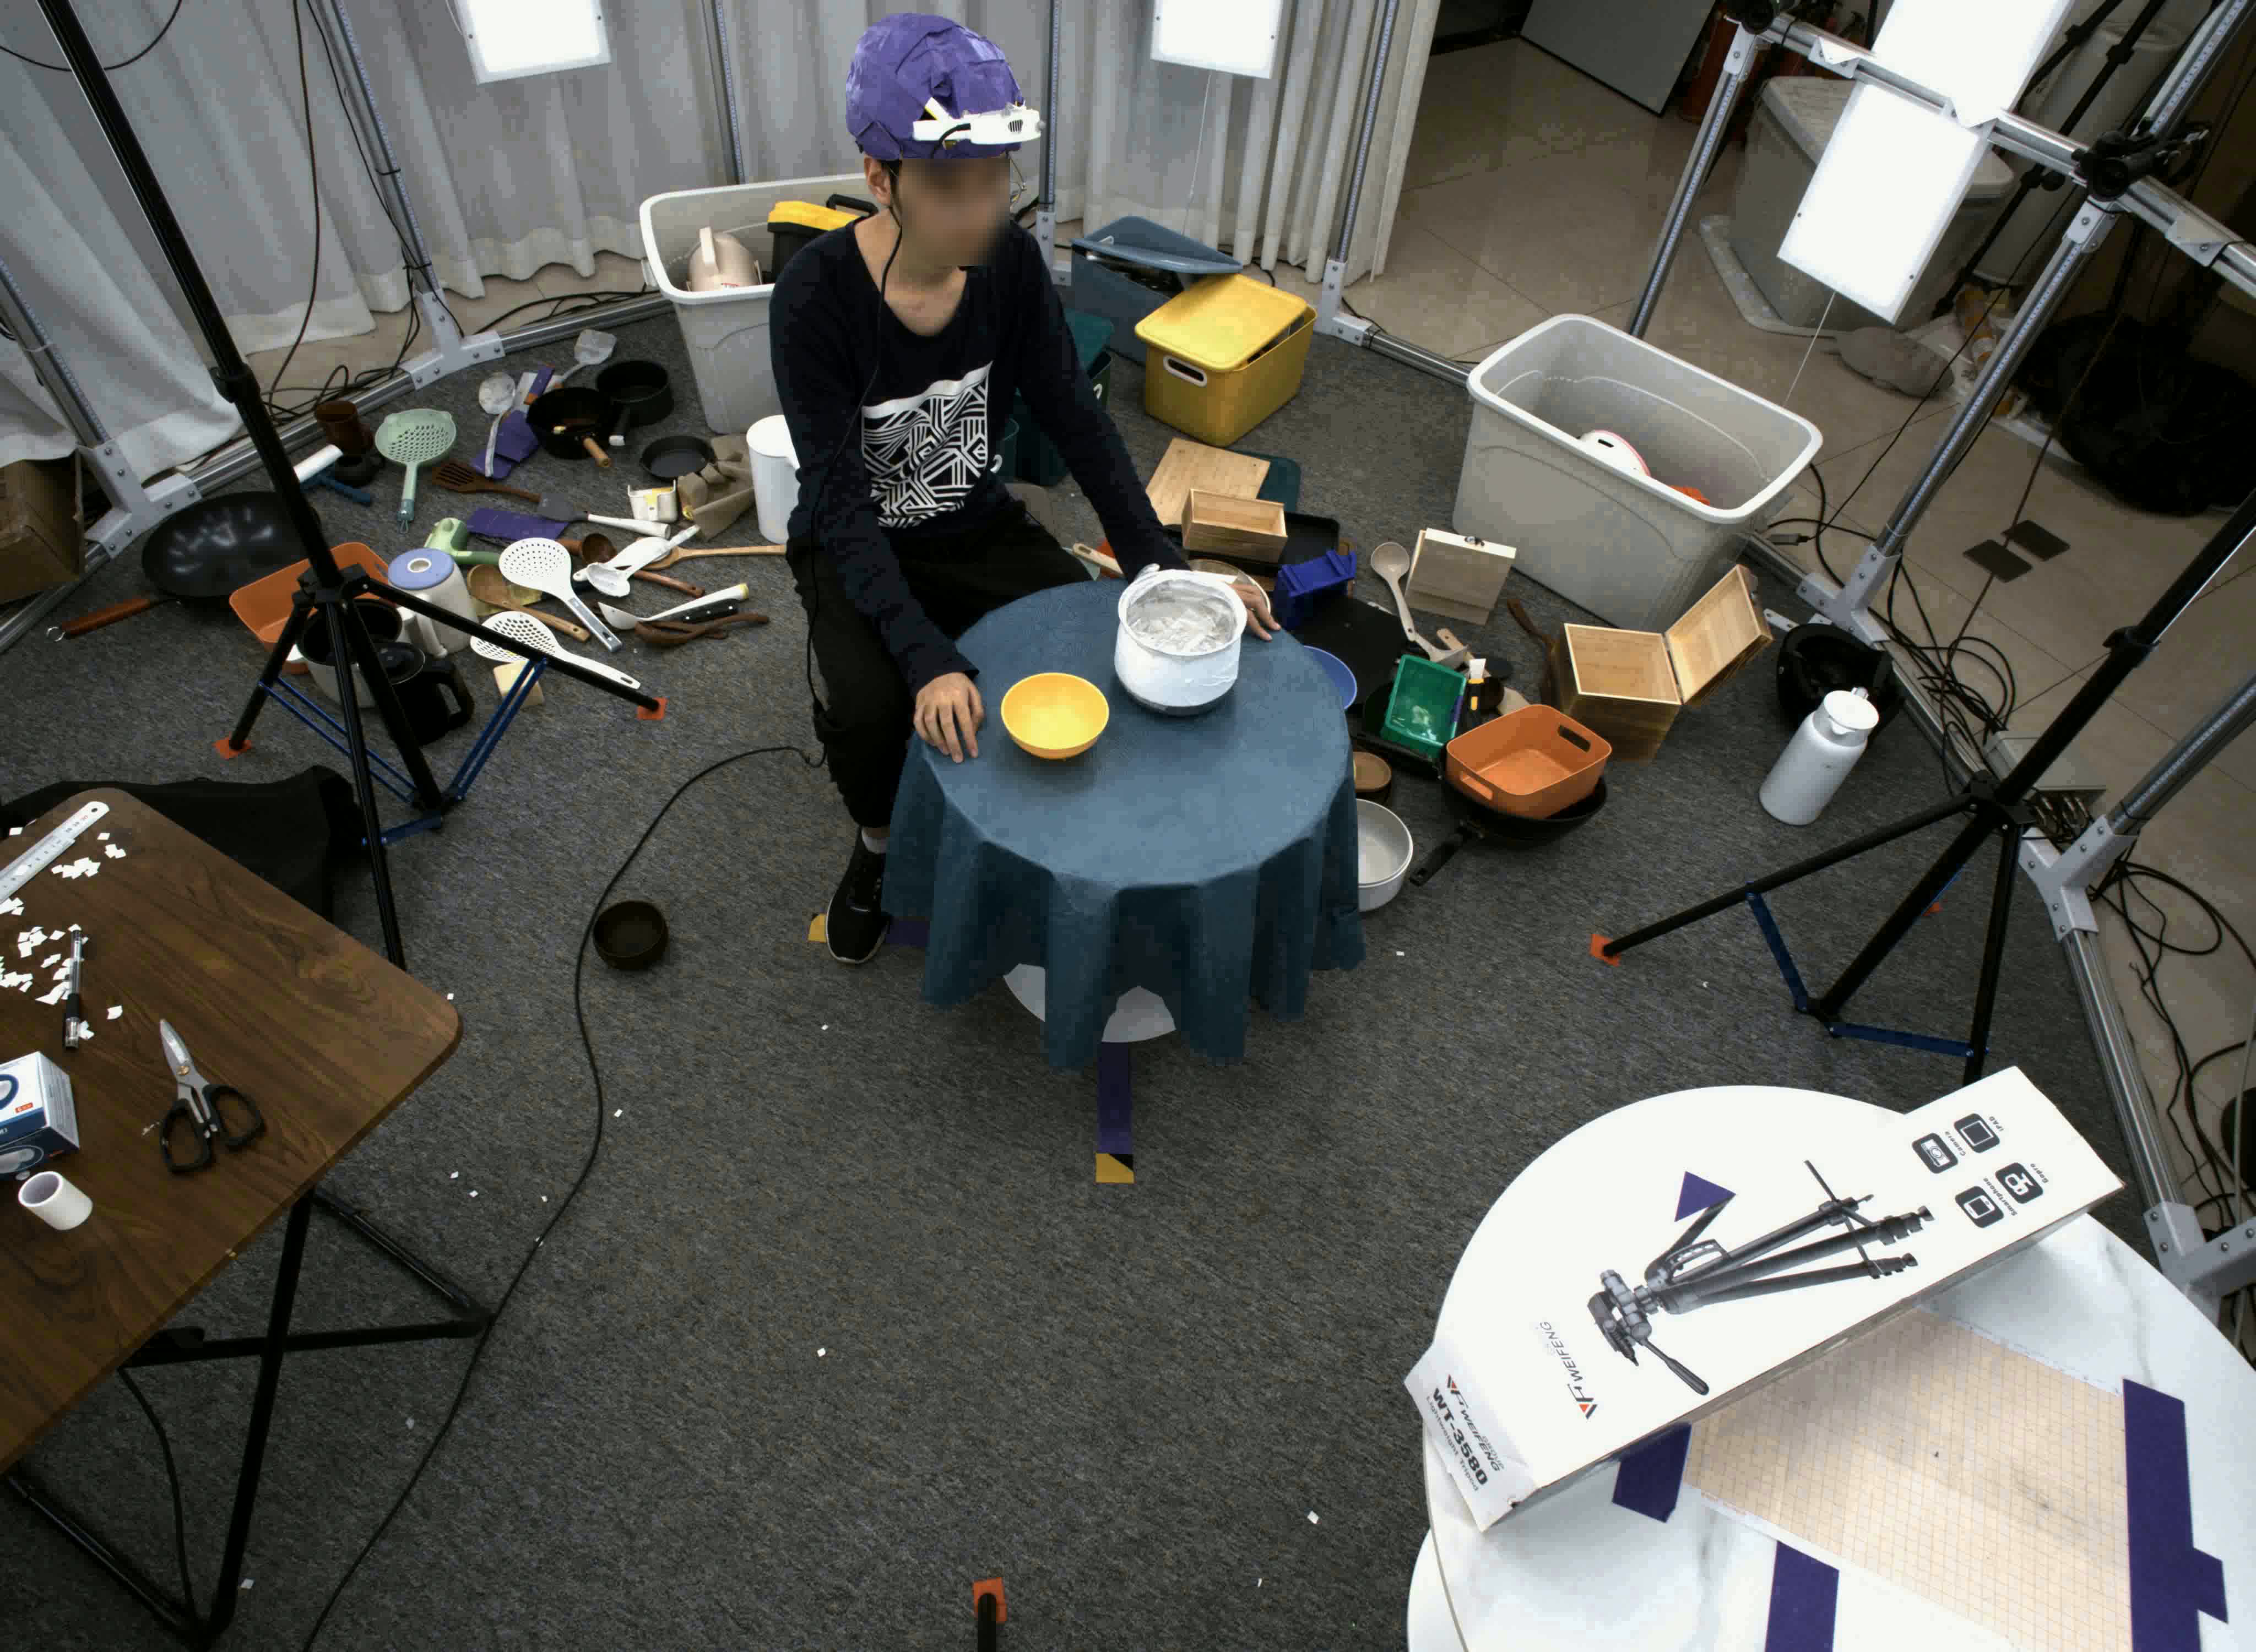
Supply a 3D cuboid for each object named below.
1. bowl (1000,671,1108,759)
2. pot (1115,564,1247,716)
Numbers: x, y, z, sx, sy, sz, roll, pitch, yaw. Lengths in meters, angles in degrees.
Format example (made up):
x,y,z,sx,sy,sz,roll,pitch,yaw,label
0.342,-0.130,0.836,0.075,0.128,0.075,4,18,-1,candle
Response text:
x,y,z,sx,sy,sz,roll,pitch,yaw,label
-0.101,-0.139,1.740,0.145,0.059,0.149,3,50,-4,bowl
0.061,-0.273,1.823,0.179,0.133,0.239,-16,51,-17,pot
